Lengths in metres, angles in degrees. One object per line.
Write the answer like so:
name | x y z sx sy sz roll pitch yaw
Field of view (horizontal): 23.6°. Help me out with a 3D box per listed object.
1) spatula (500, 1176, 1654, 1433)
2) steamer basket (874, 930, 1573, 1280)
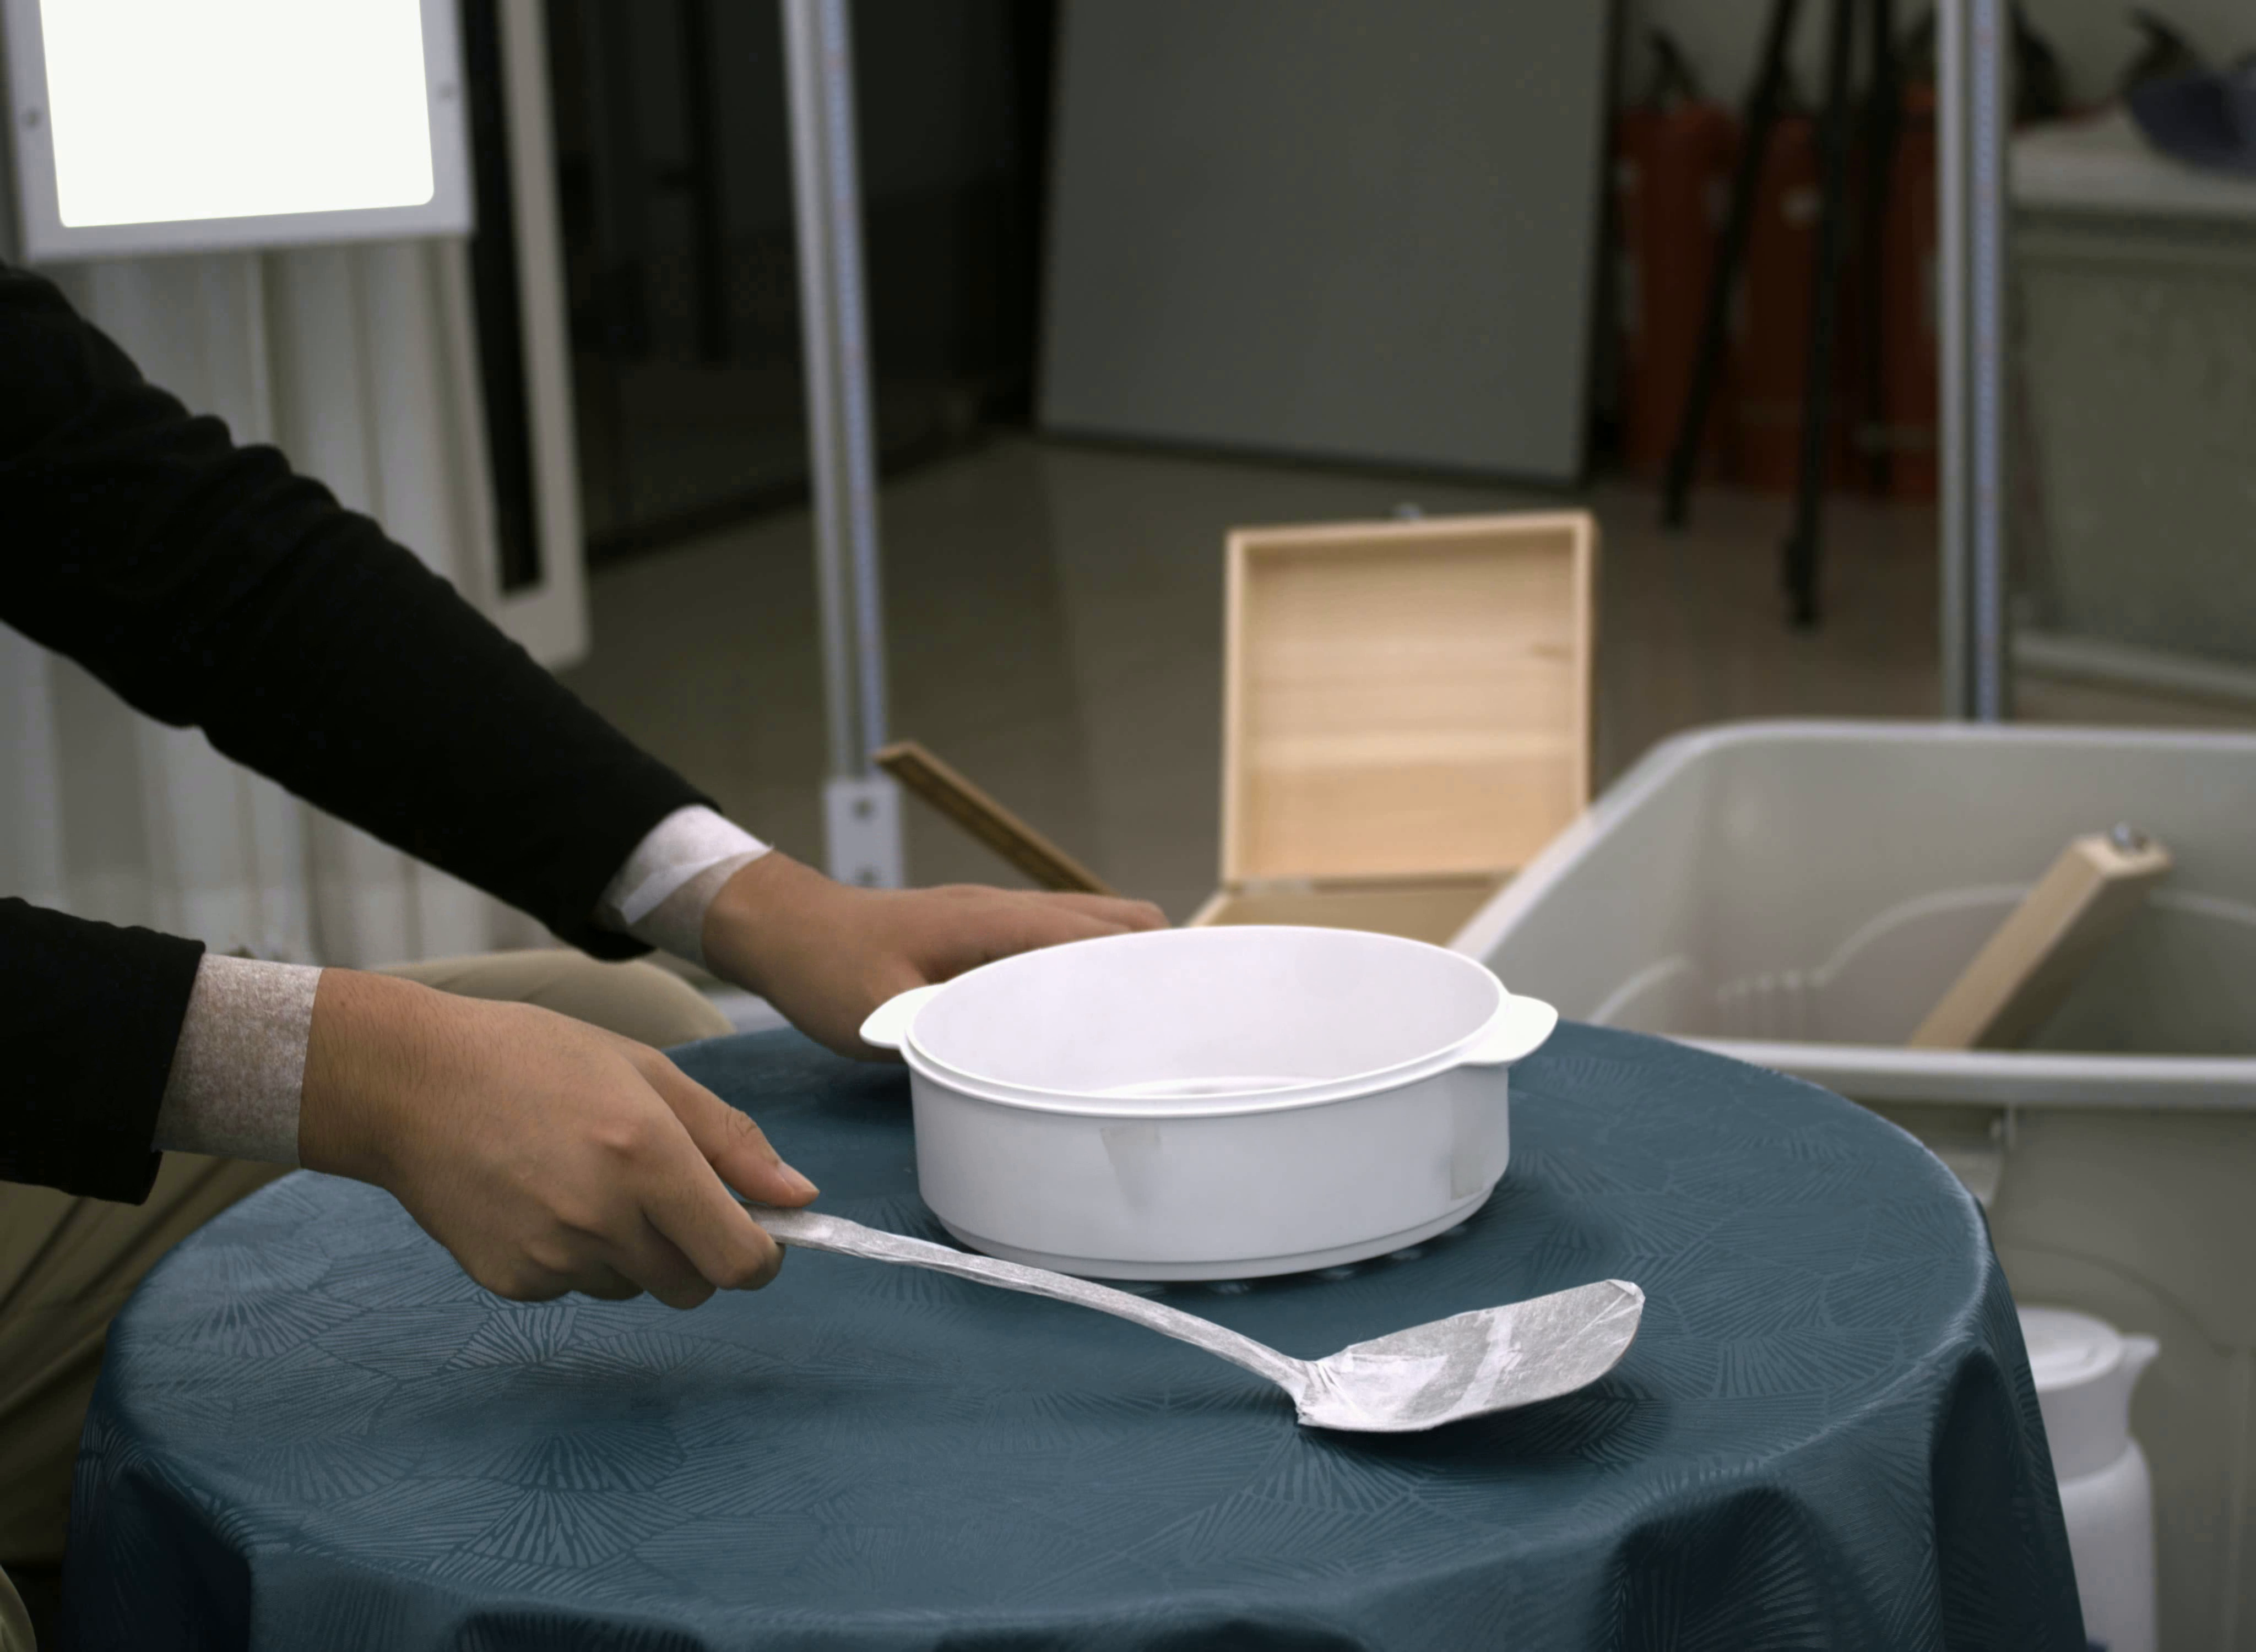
spatula | -0.025 0.129 1.589 0.364 0.045 0.098 11 22 18
steamer basket | 0.032 0.089 1.742 0.230 0.070 0.200 -1 13 18
